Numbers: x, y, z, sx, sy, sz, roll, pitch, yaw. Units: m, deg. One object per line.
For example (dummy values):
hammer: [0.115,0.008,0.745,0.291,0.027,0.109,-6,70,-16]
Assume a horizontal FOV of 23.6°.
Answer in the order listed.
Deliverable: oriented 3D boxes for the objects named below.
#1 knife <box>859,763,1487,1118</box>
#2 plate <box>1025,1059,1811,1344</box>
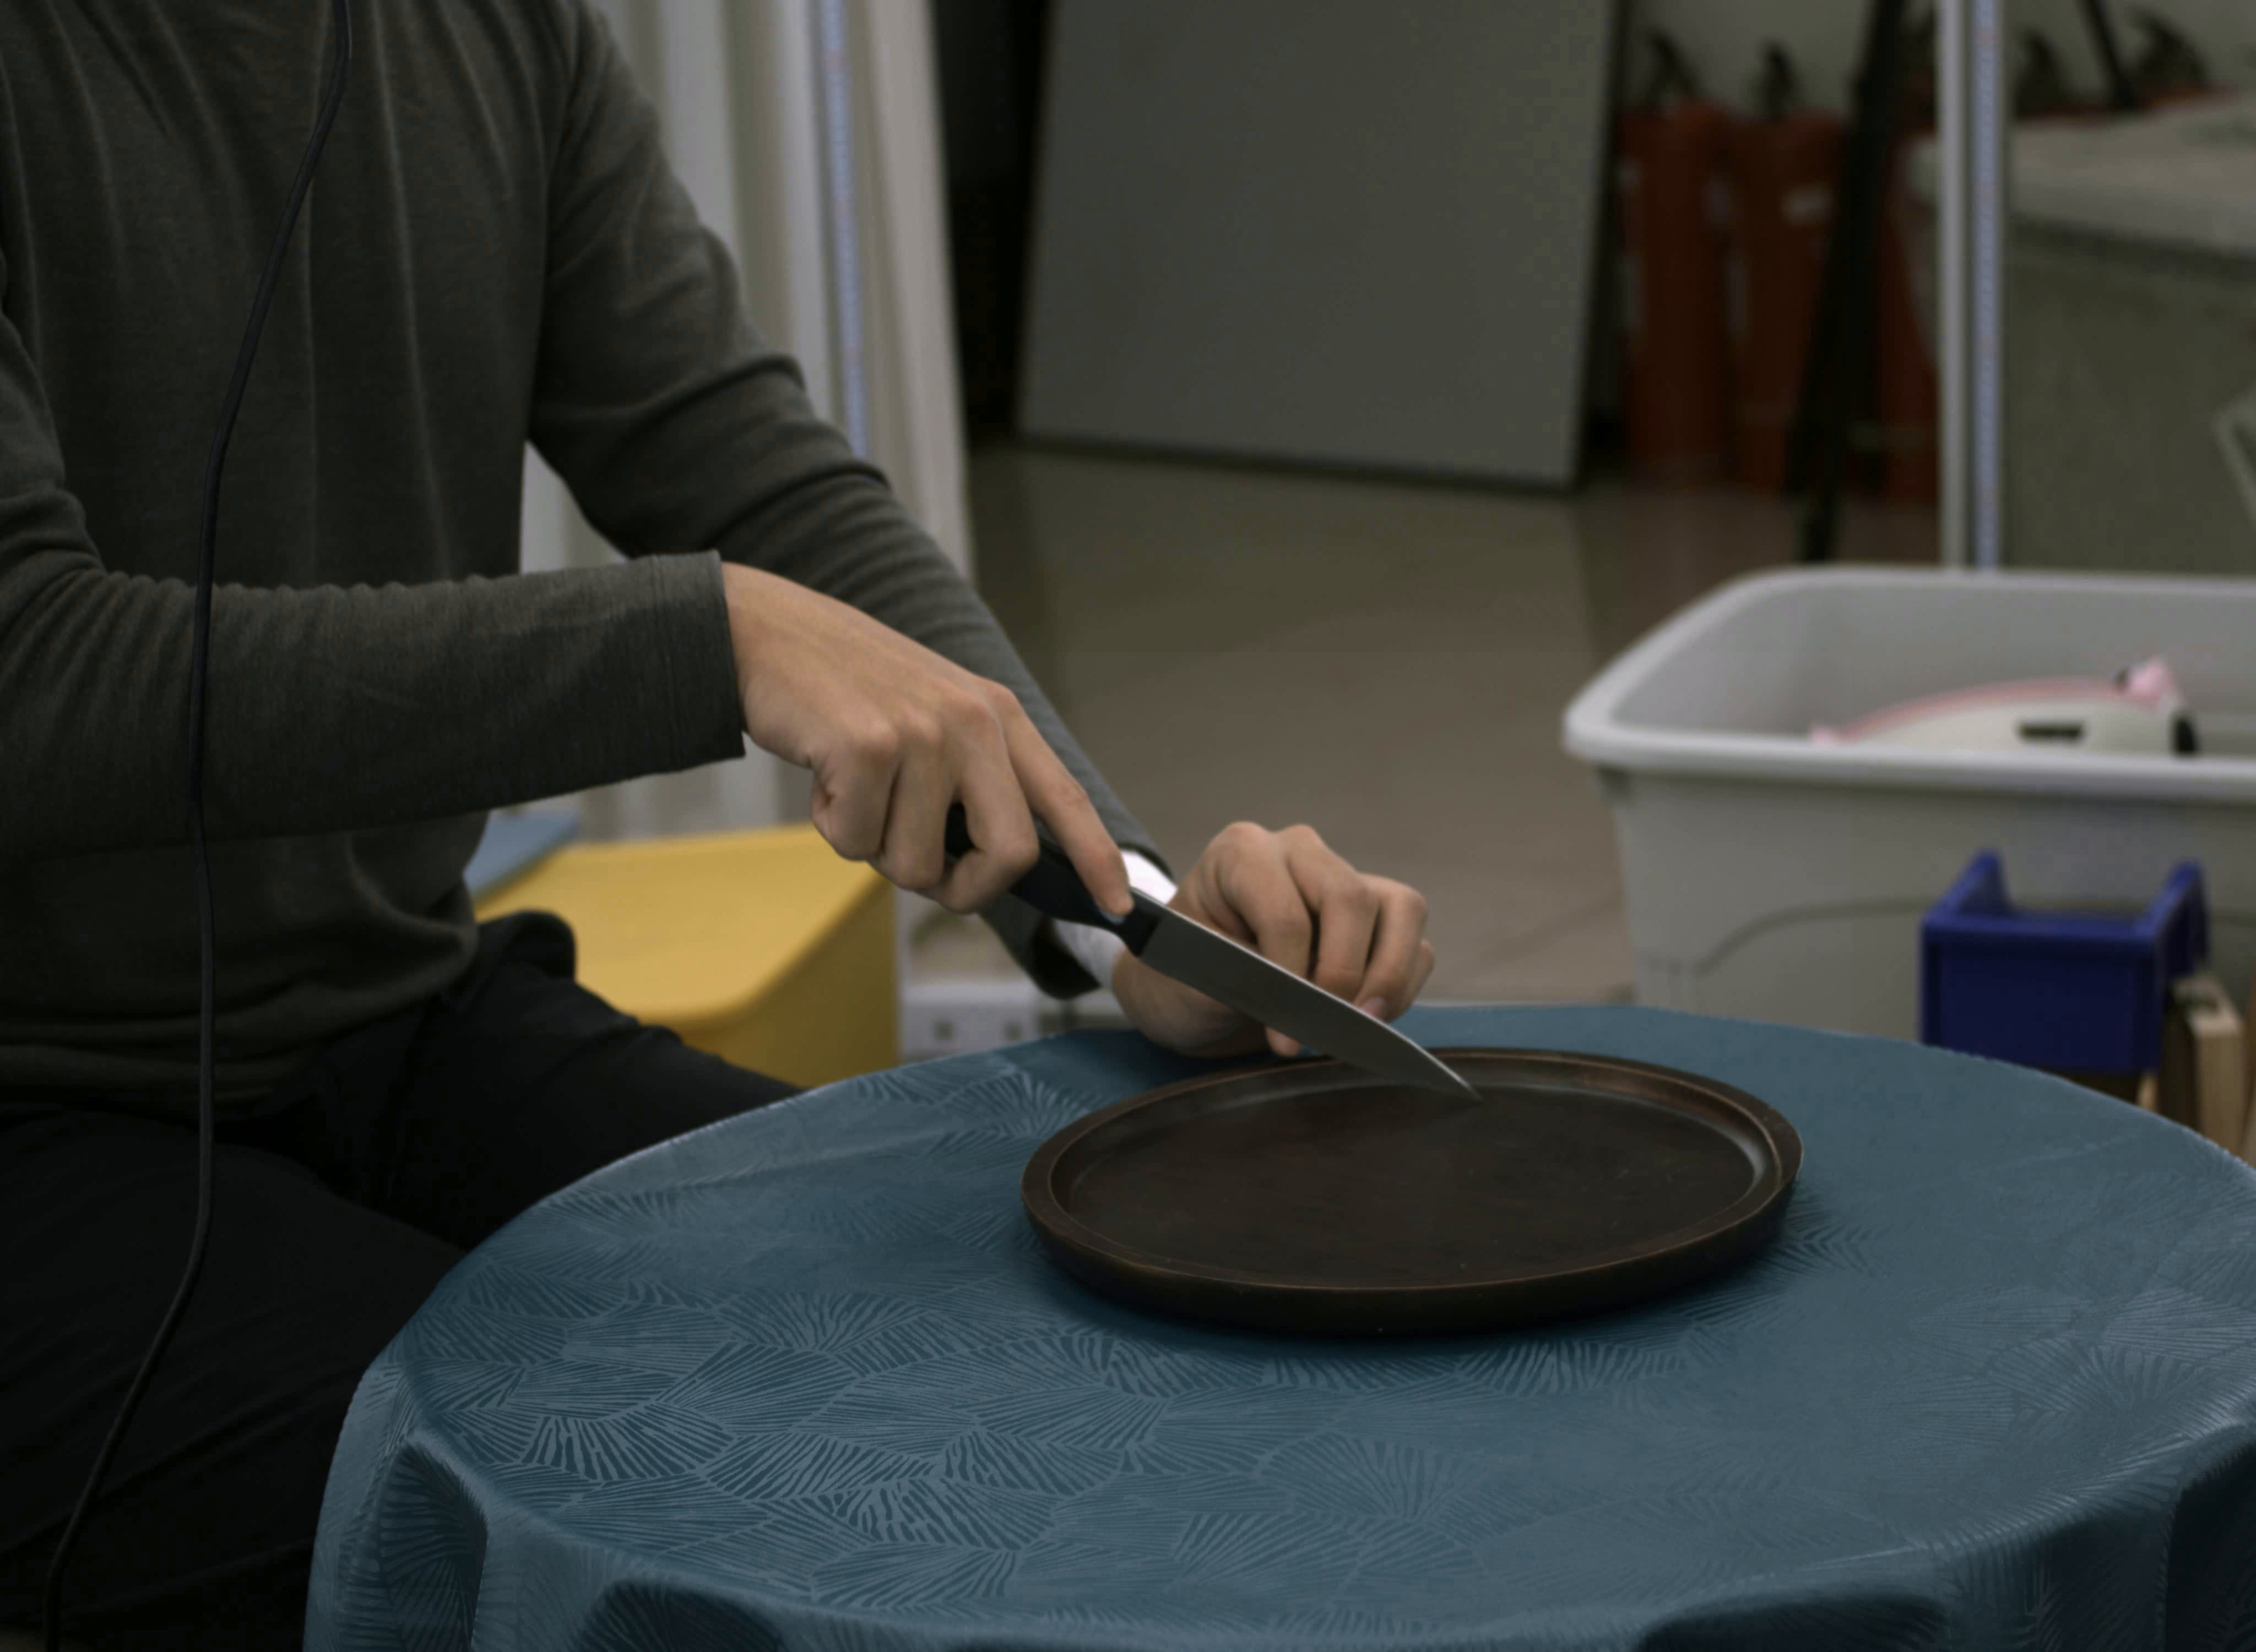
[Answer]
knife: [0.018,0.039,1.797,0.236,0.024,0.016,29,12,-2]
plate: [0.092,0.117,1.719,0.251,0.029,0.255,-3,14,0]
